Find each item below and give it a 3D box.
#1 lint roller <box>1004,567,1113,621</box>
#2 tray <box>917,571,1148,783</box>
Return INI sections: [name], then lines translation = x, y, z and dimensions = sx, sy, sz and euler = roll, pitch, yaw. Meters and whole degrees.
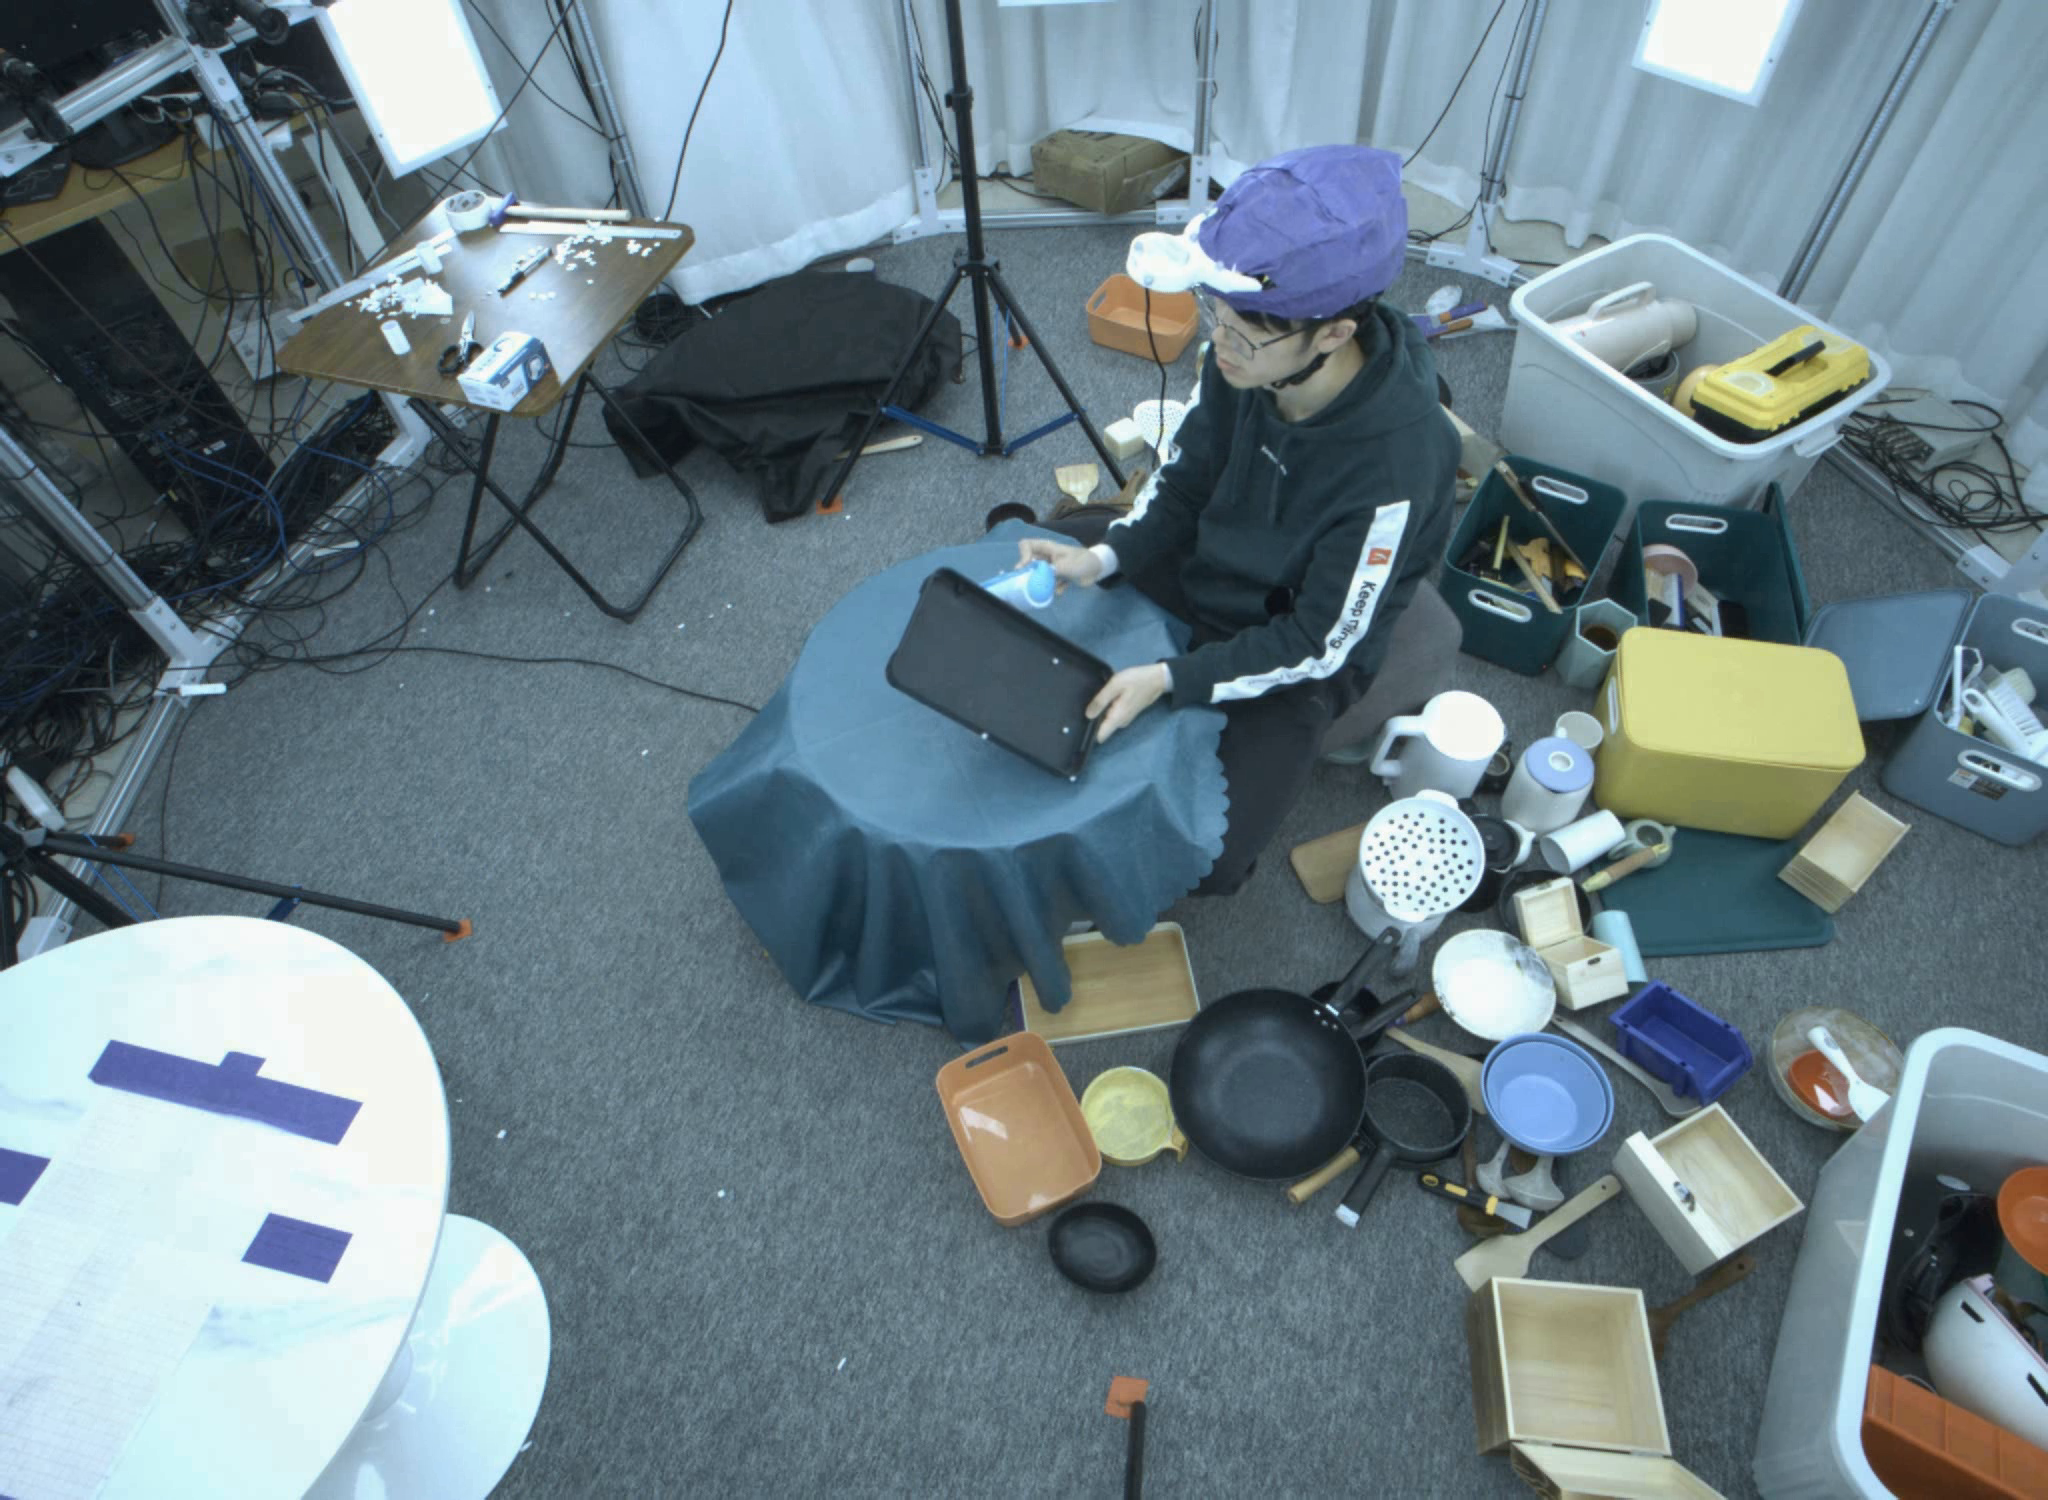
[lint roller]
translation = 0.054, -0.226, 1.794
dimensions = 0.183, 0.224, 0.068
euler = -26, 100, -38
[tray]
translation = 0.017, -0.096, 1.697
dimensions = 0.324, 0.036, 0.184
euler = 29, 71, -24
